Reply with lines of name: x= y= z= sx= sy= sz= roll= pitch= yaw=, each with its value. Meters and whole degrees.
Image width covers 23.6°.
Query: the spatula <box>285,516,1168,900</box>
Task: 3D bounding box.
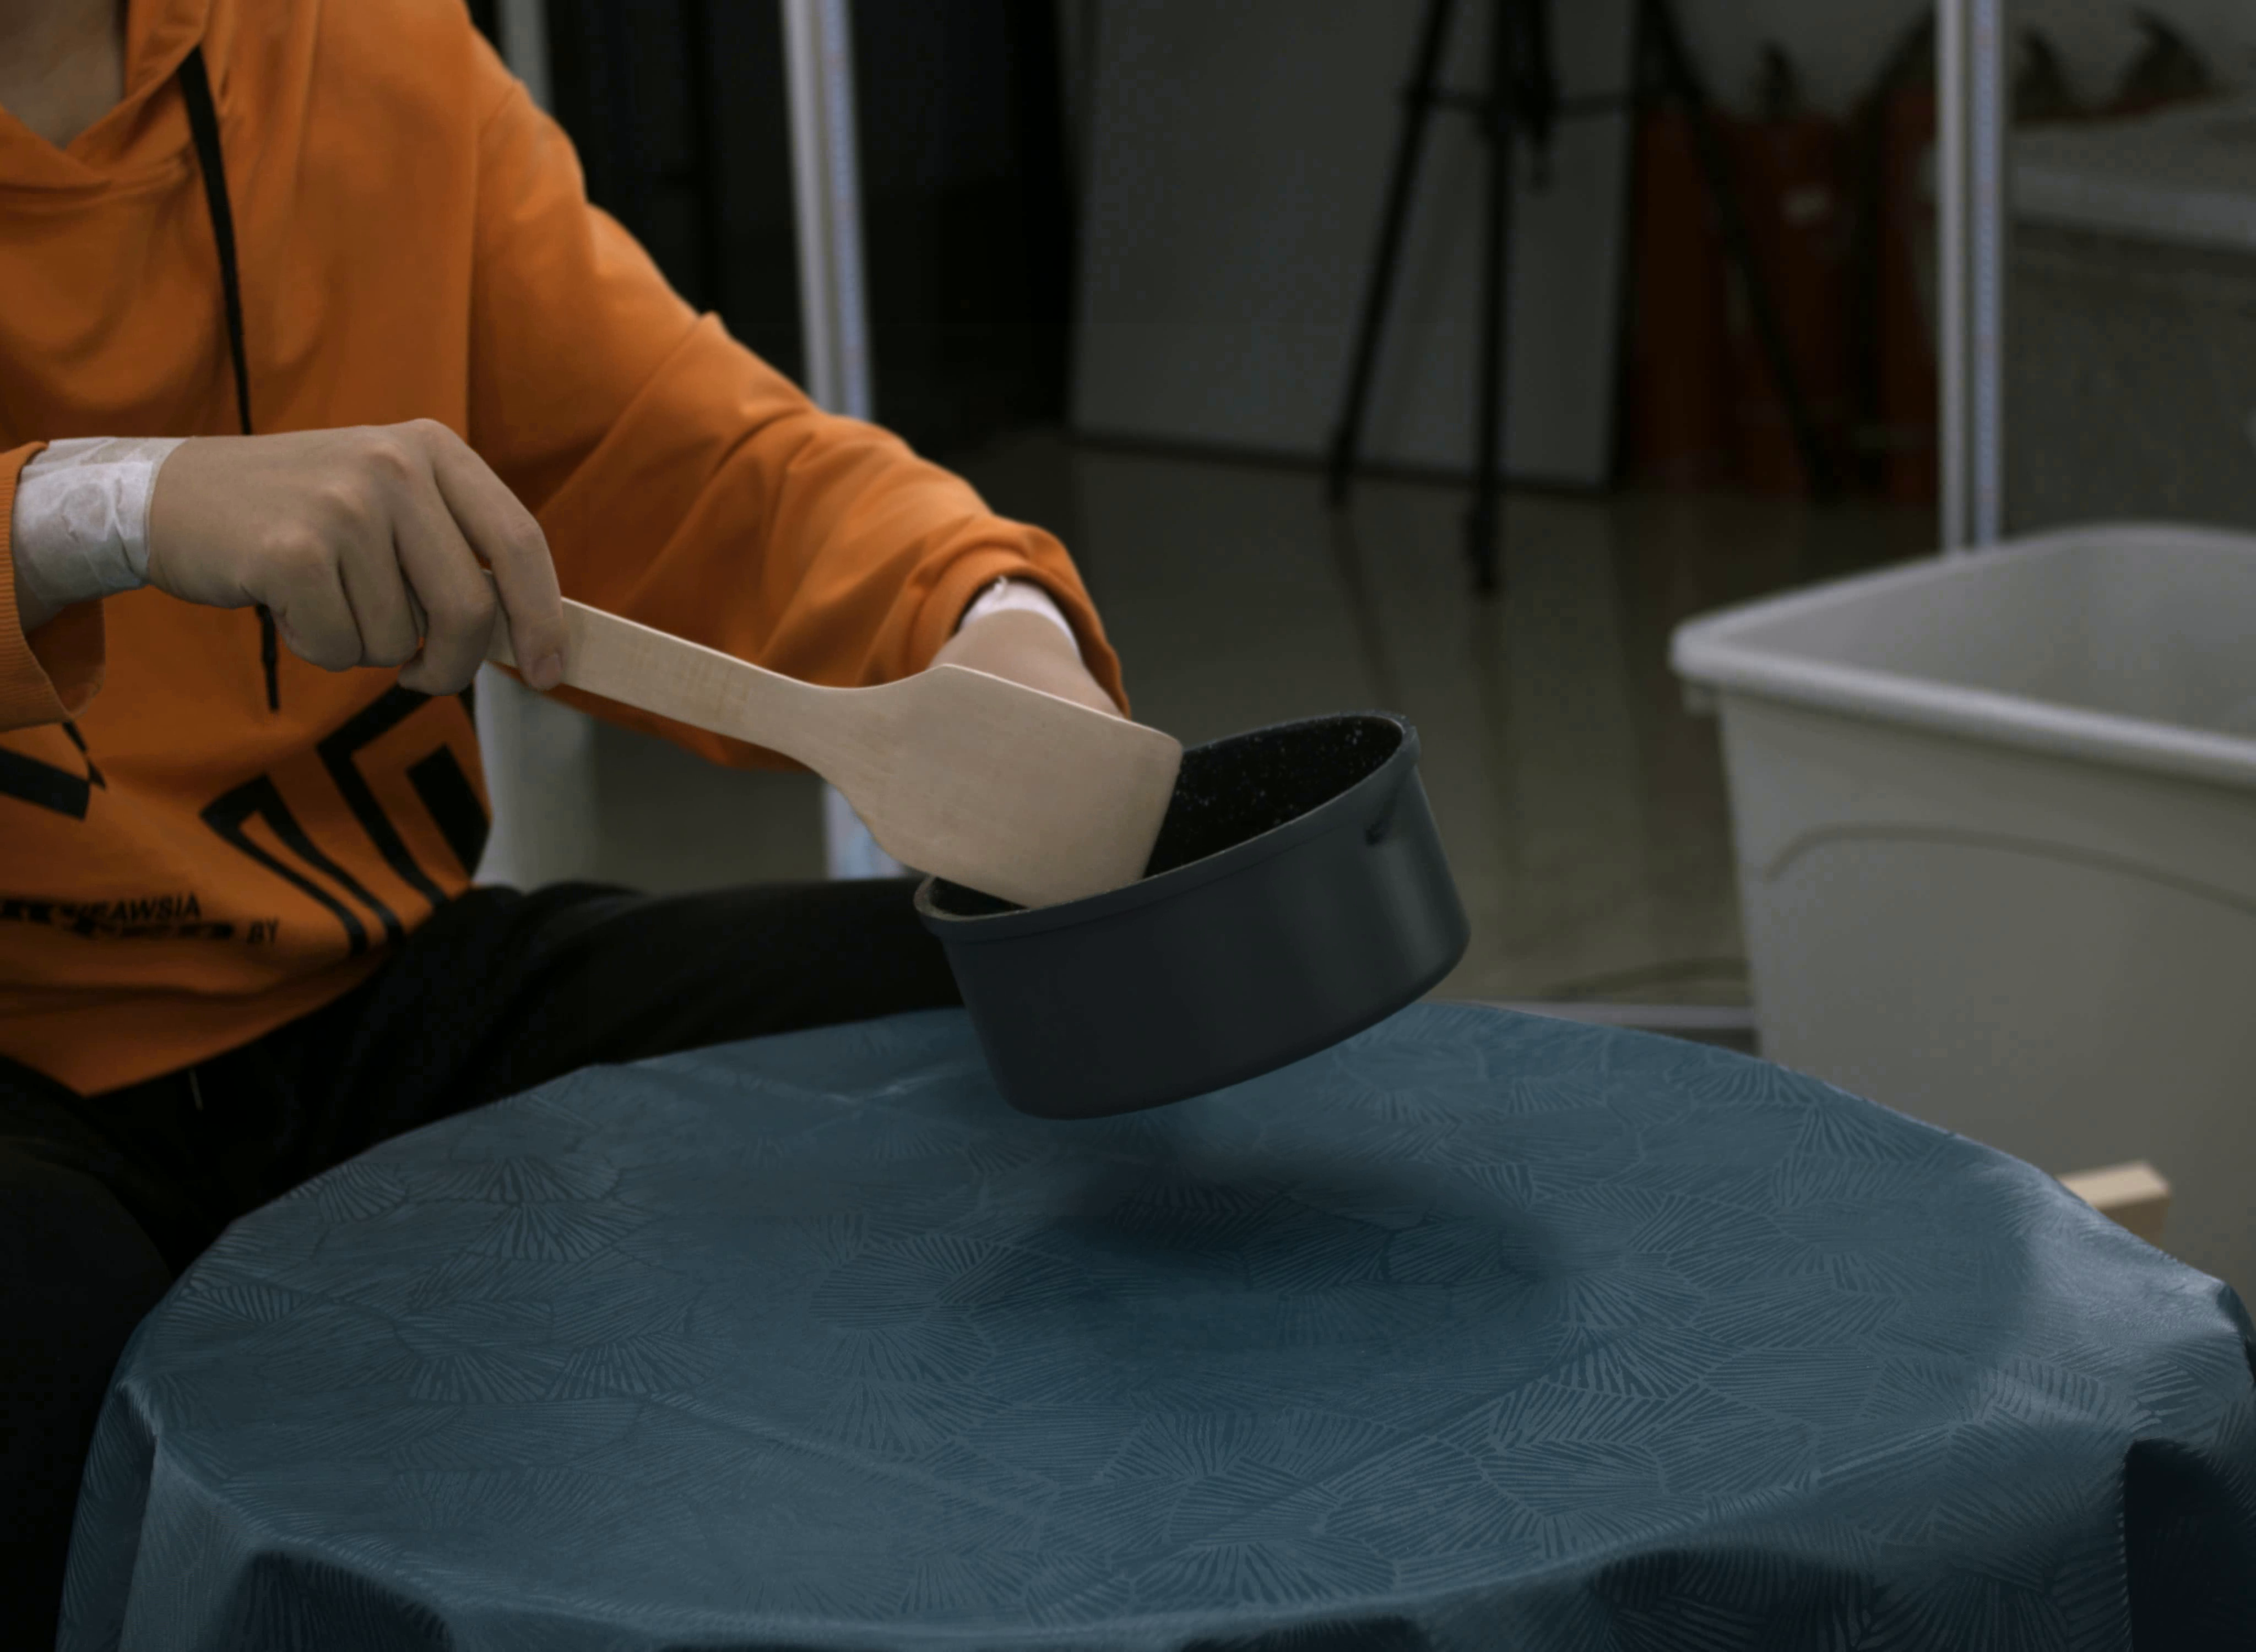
spatula: x=-0.132 y=-0.044 z=1.741 sx=0.290 sy=0.073 sz=0.010 roll=18 pitch=14 yaw=1

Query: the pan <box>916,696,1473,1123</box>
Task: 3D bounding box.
pan: x=0.000 y=0.017 z=1.803 sx=0.169 sy=0.087 sz=0.331 roll=-22 pitch=13 yaw=-13
